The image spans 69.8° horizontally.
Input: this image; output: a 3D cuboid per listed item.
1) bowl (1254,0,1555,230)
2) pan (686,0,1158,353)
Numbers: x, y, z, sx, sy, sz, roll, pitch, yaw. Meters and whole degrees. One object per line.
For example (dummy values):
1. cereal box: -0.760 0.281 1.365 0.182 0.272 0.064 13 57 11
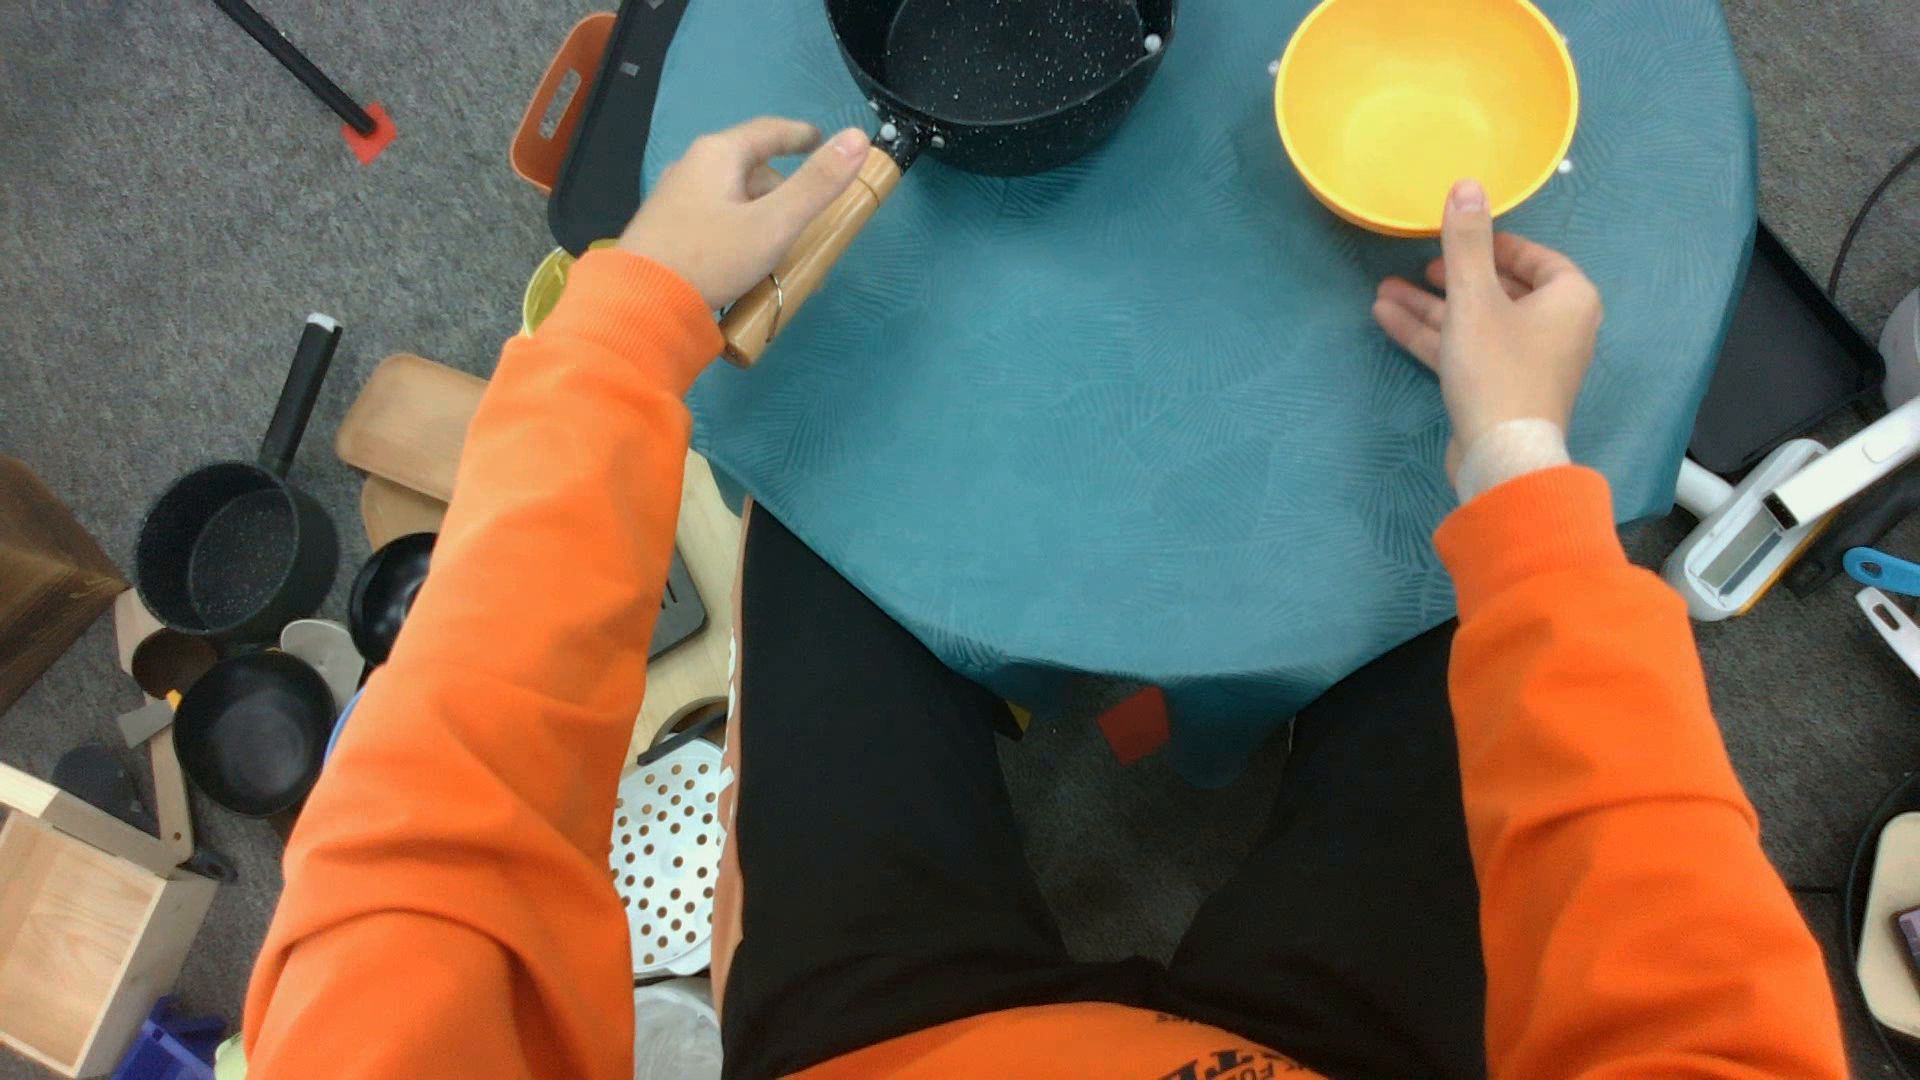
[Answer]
1. bowl: 0.225 -0.217 0.713 0.145 0.060 0.145 -2 75 8
2. pan: -0.027 -0.224 0.719 0.207 0.108 0.343 29 80 11
